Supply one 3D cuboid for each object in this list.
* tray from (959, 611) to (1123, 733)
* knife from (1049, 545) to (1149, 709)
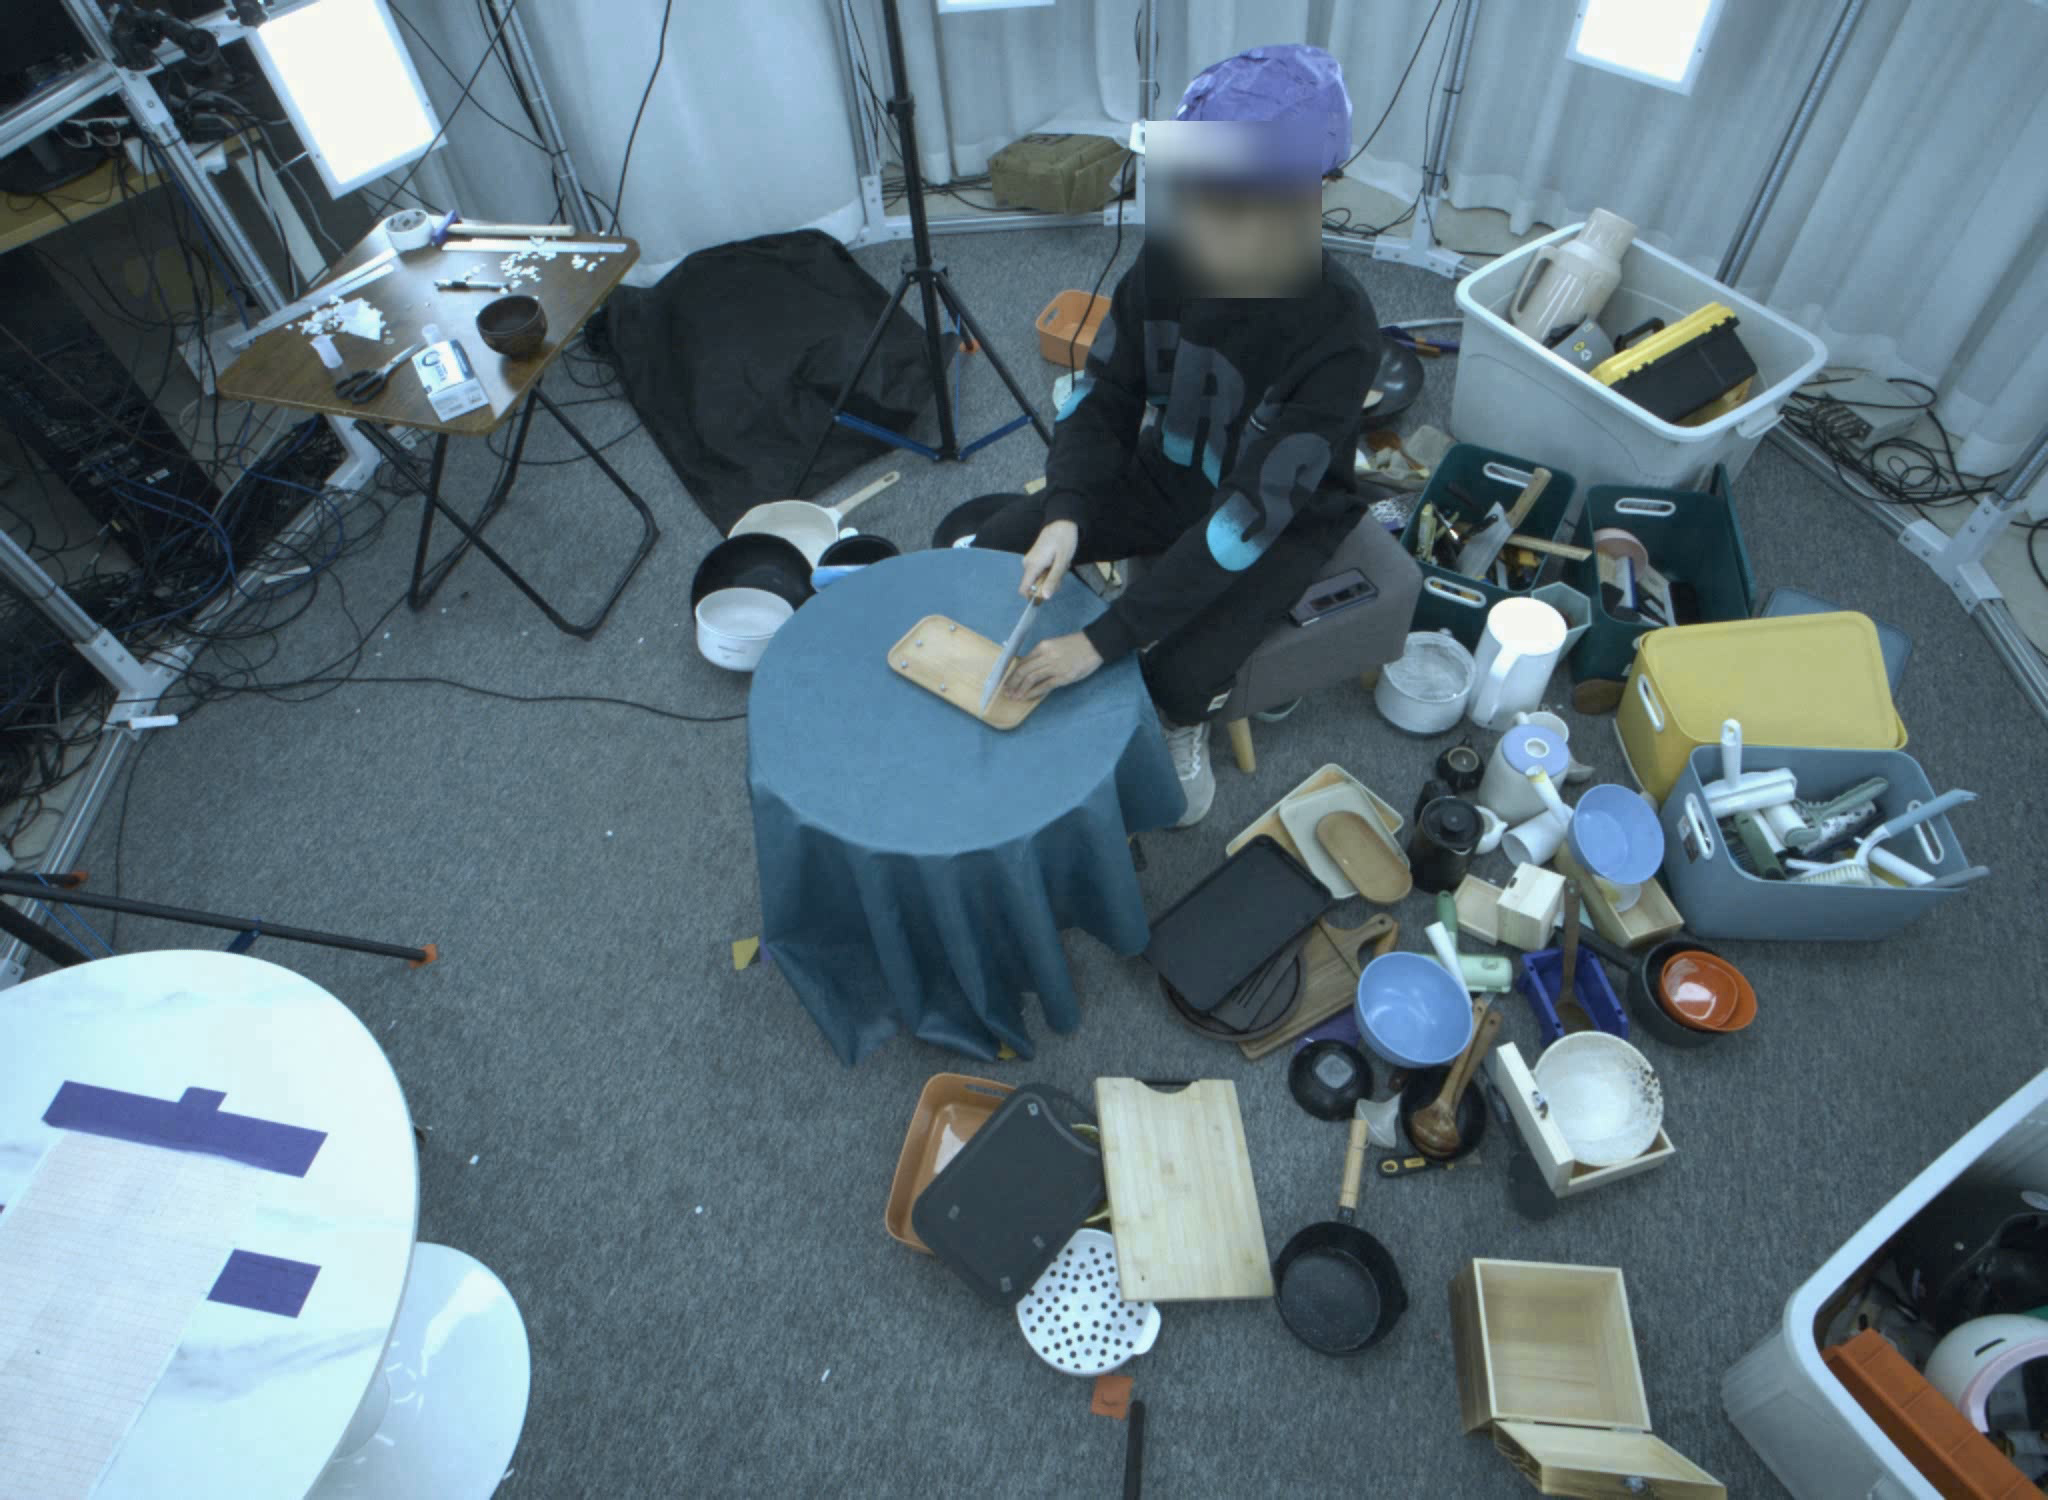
[{"bbox_3d":[0.024,-0.120,1.862,0.246,0.023,0.131,36,66,23],"label":"tray"},{"bbox_3d":[0.109,-0.181,1.833,0.021,0.093,0.306,27,60,10],"label":"knife"}]
